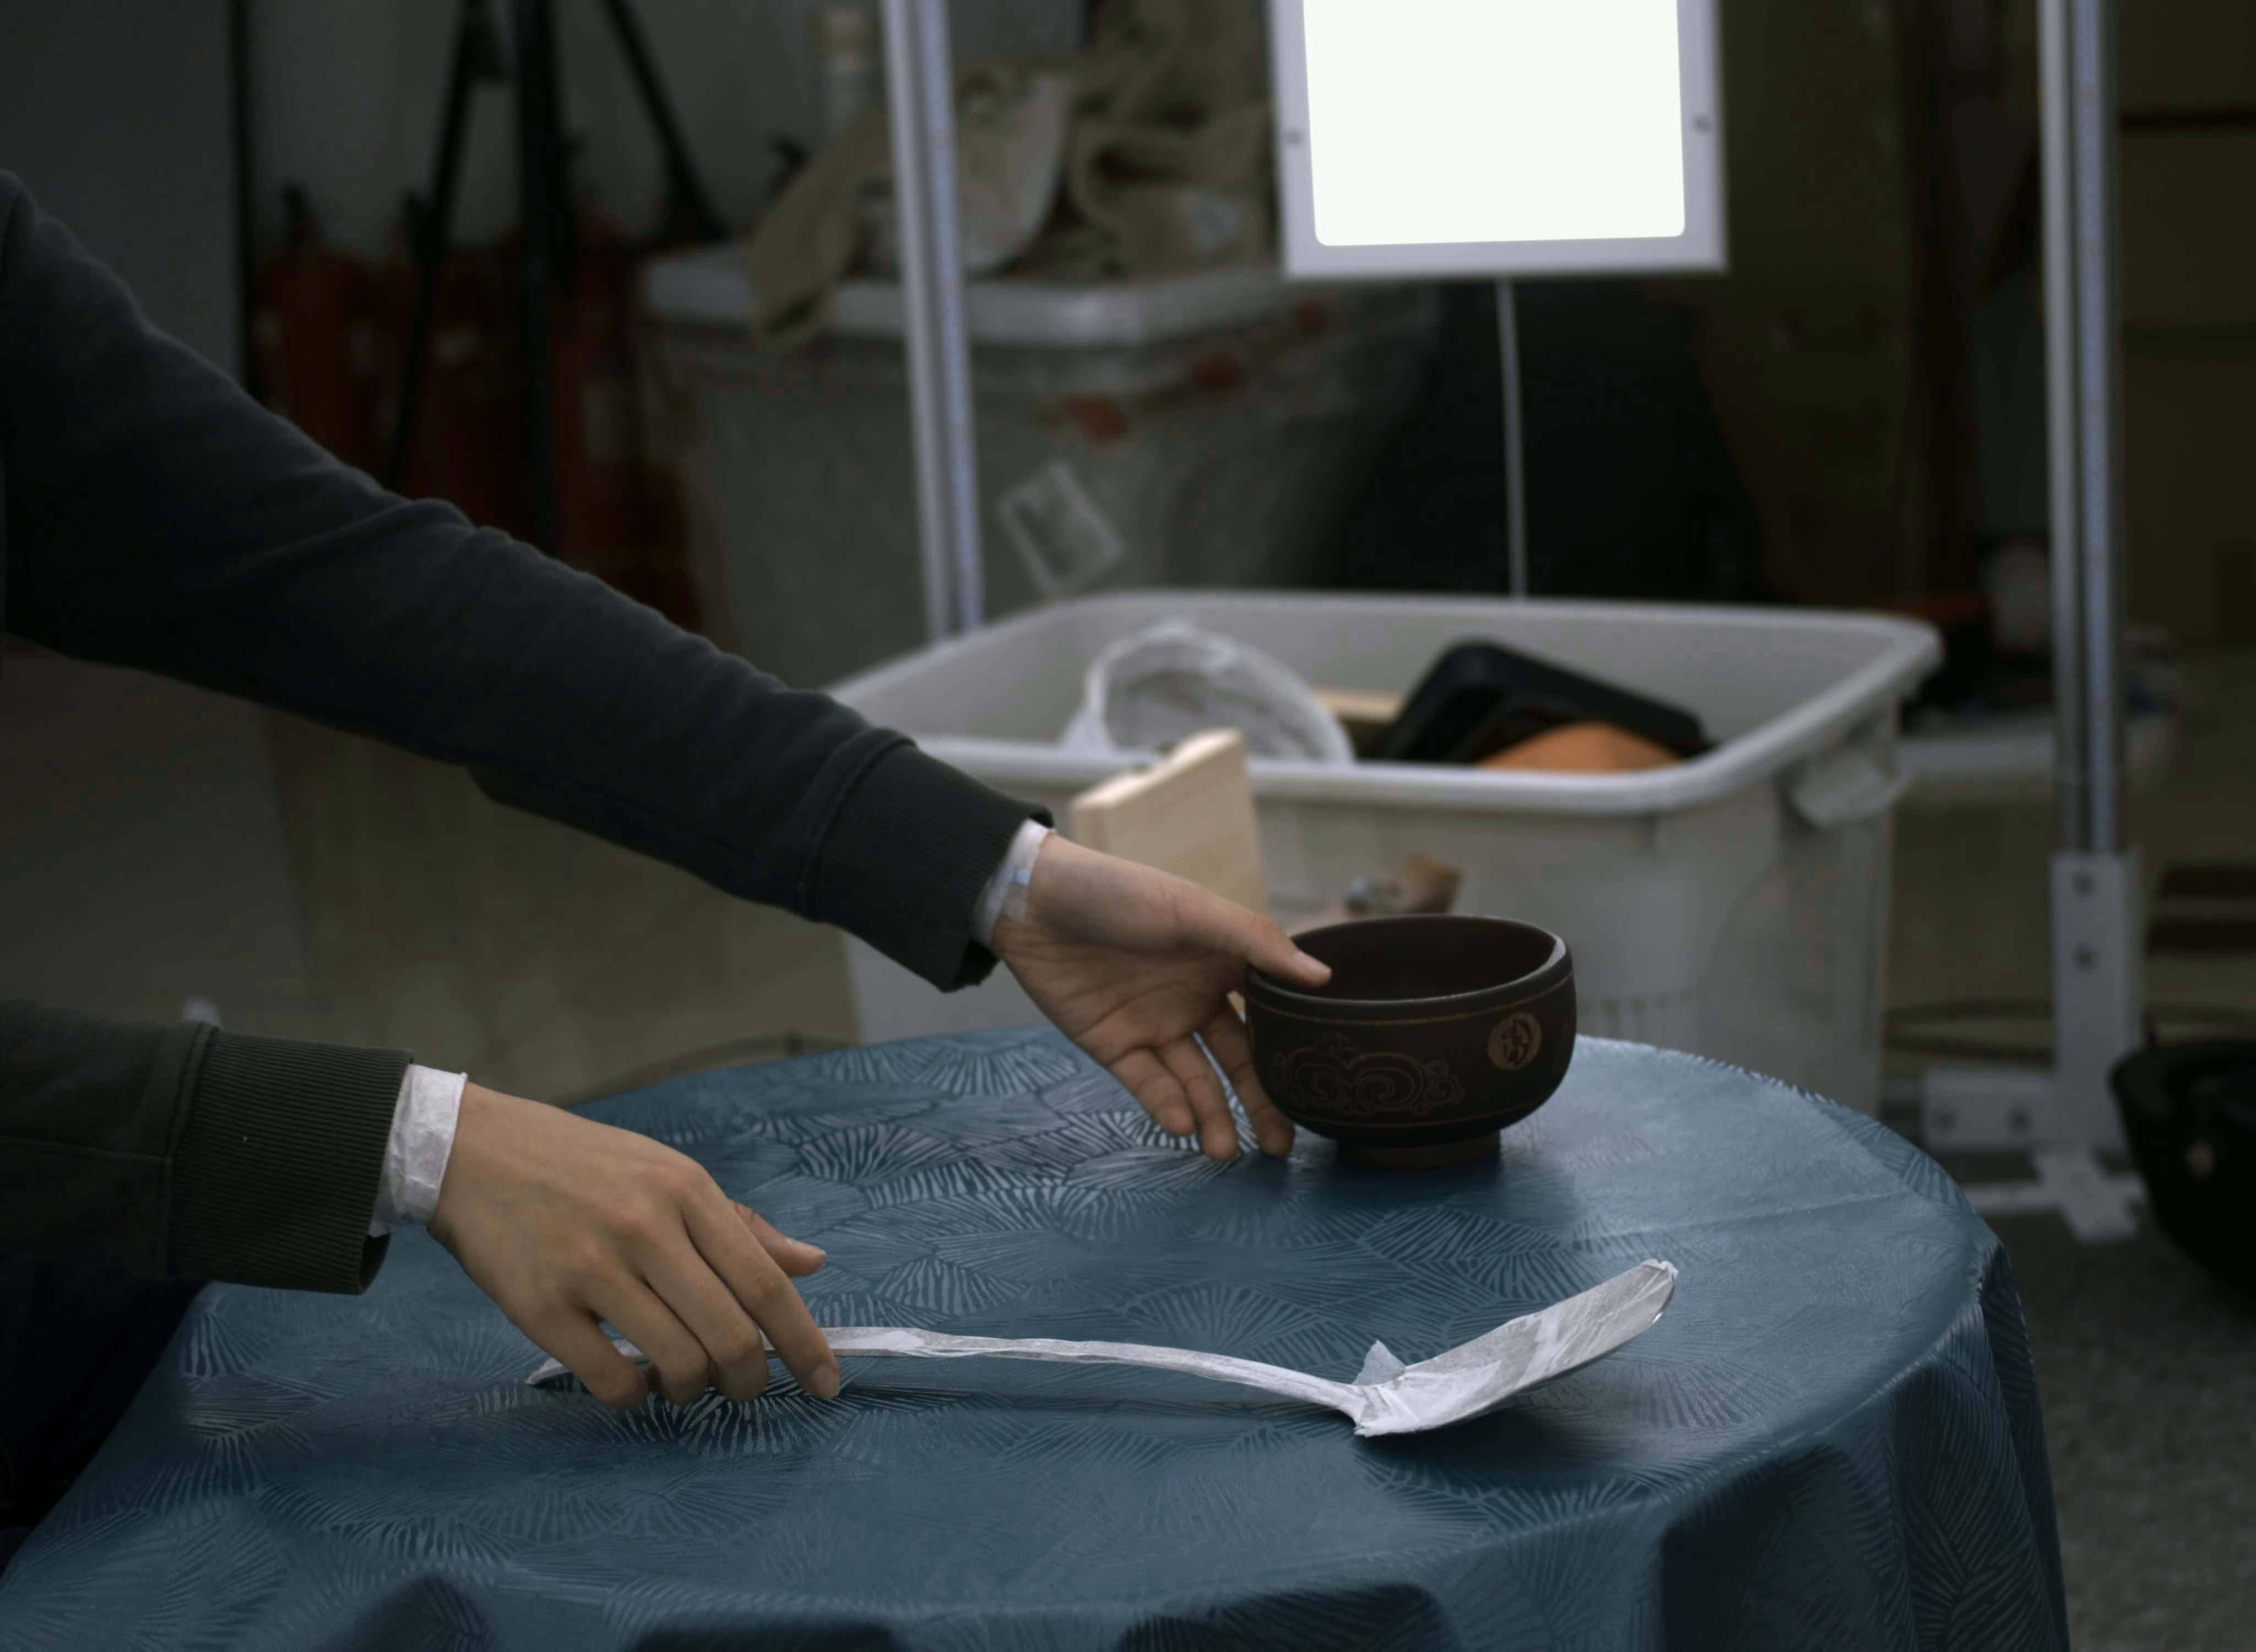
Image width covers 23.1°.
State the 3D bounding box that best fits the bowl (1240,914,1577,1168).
[{"bbox_3d":[0.099,0.078,1.912,0.118,0.070,0.118,-7,12,0],"label":"bowl"}]

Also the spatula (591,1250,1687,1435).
[{"bbox_3d":[-0.007,0.157,1.694,0.370,0.045,0.097,1,17,22],"label":"spatula"}]
